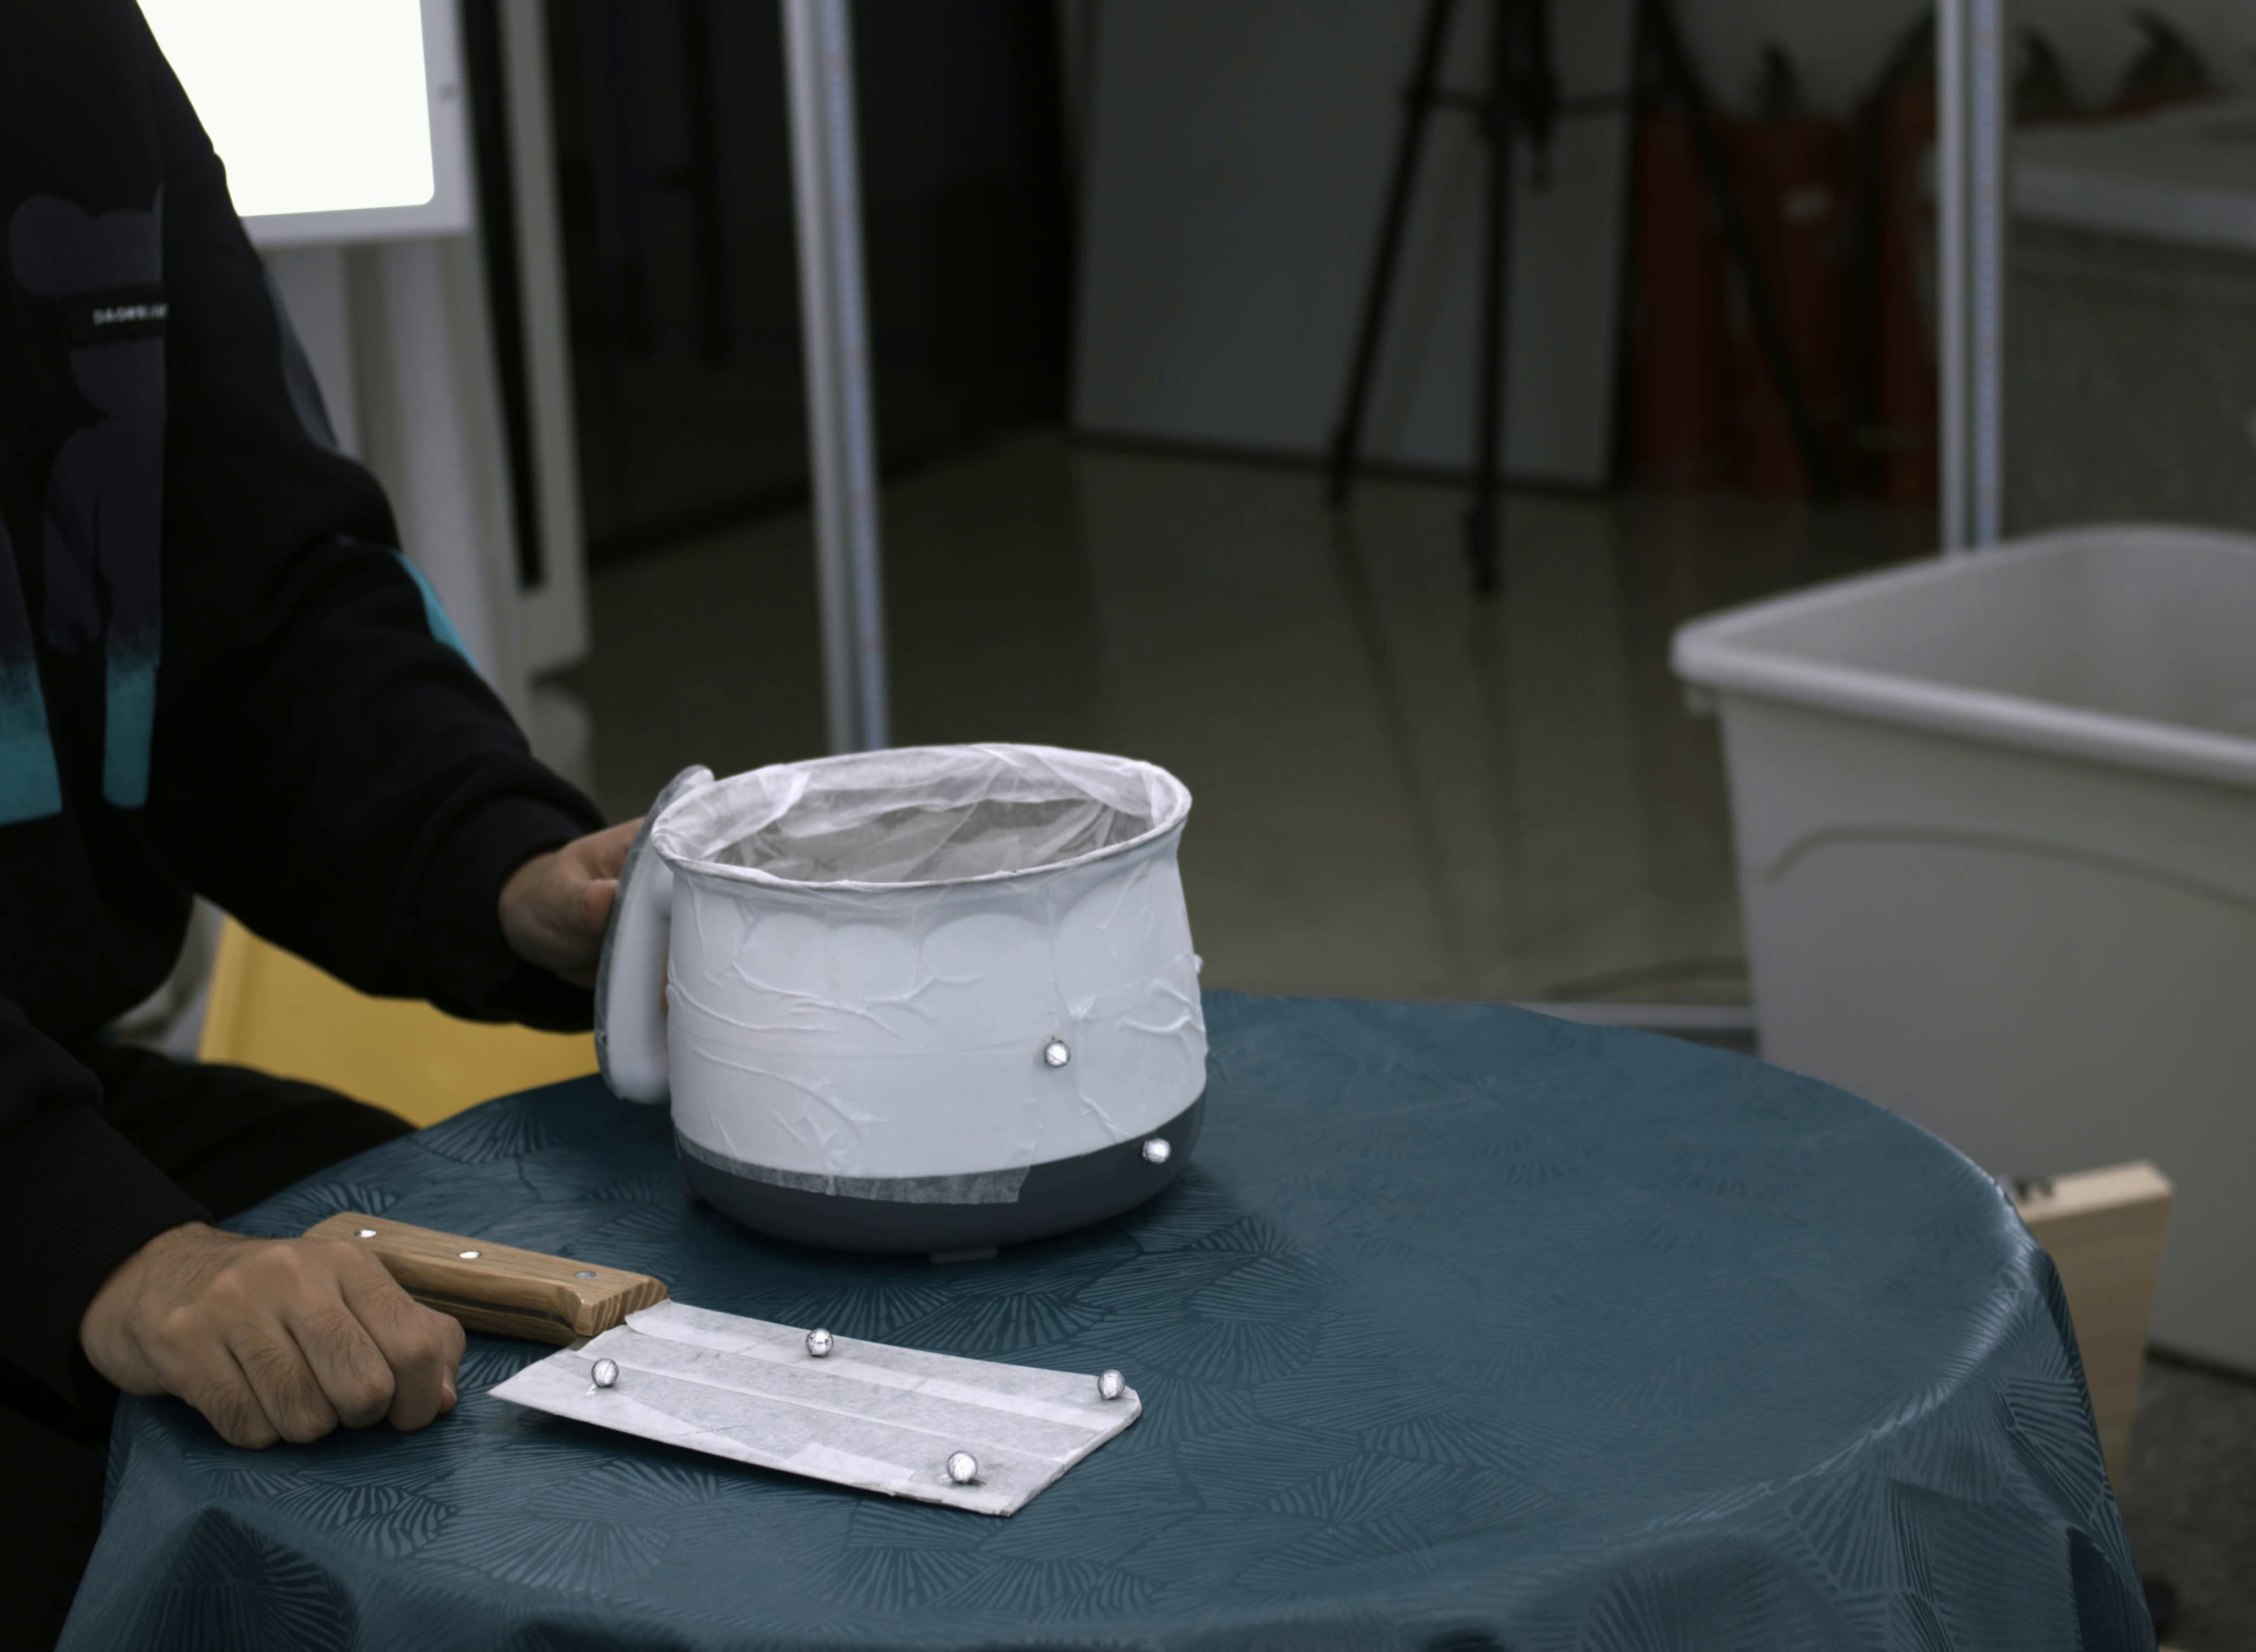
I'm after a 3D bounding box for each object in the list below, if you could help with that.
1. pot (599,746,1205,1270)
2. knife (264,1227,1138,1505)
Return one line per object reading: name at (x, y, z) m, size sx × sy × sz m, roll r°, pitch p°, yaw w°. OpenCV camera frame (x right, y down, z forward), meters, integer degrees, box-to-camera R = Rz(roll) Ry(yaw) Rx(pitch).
pot at (-0.085, 0.055, 1.780) m, size 0.235 × 0.138 × 0.175 m, roll 7°, pitch 17°, yaw 37°
knife at (-0.136, 0.159, 1.618) m, size 0.317 × 0.022 × 0.112 m, roll 9°, pitch 19°, yaw 35°
